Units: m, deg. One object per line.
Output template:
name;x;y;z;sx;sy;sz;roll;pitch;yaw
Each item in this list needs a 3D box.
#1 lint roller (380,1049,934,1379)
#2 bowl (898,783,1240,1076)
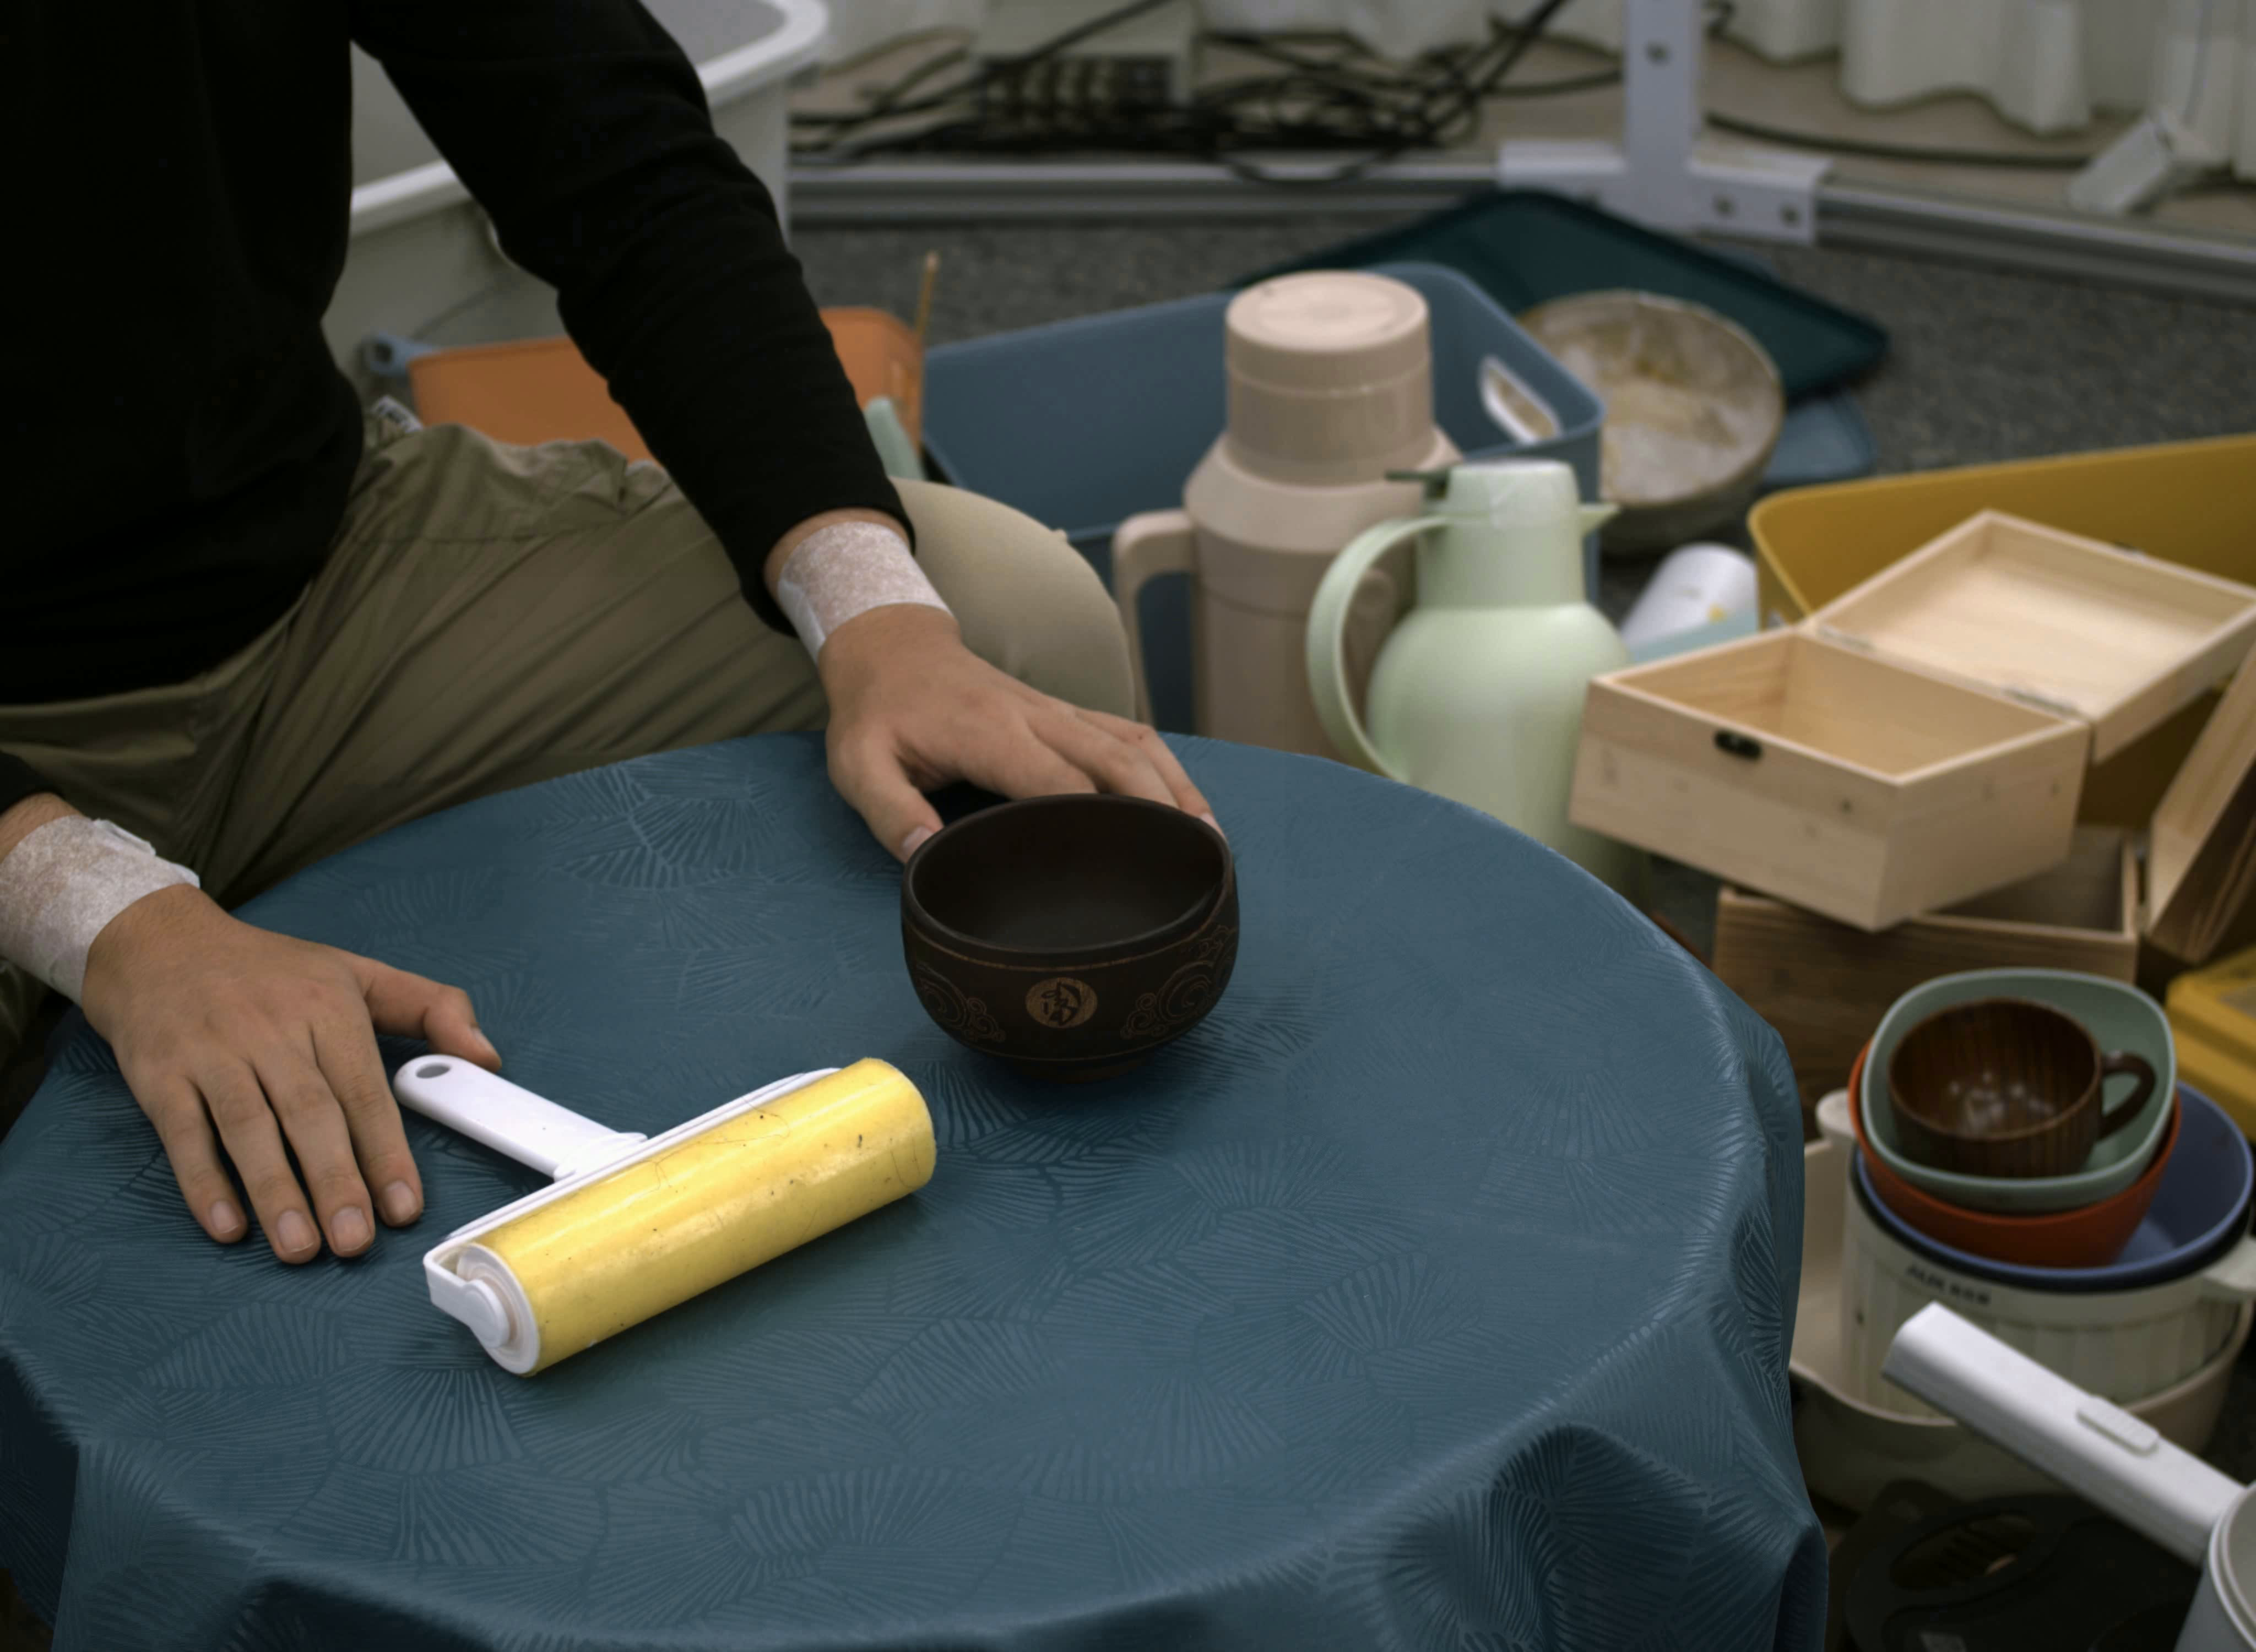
lint roller;-0.187;0.102;1.862;0.176;0.051;0.192;-25;39;-36
bowl;-0.020;0.042;1.936;0.117;0.069;0.120;-1;28;1
